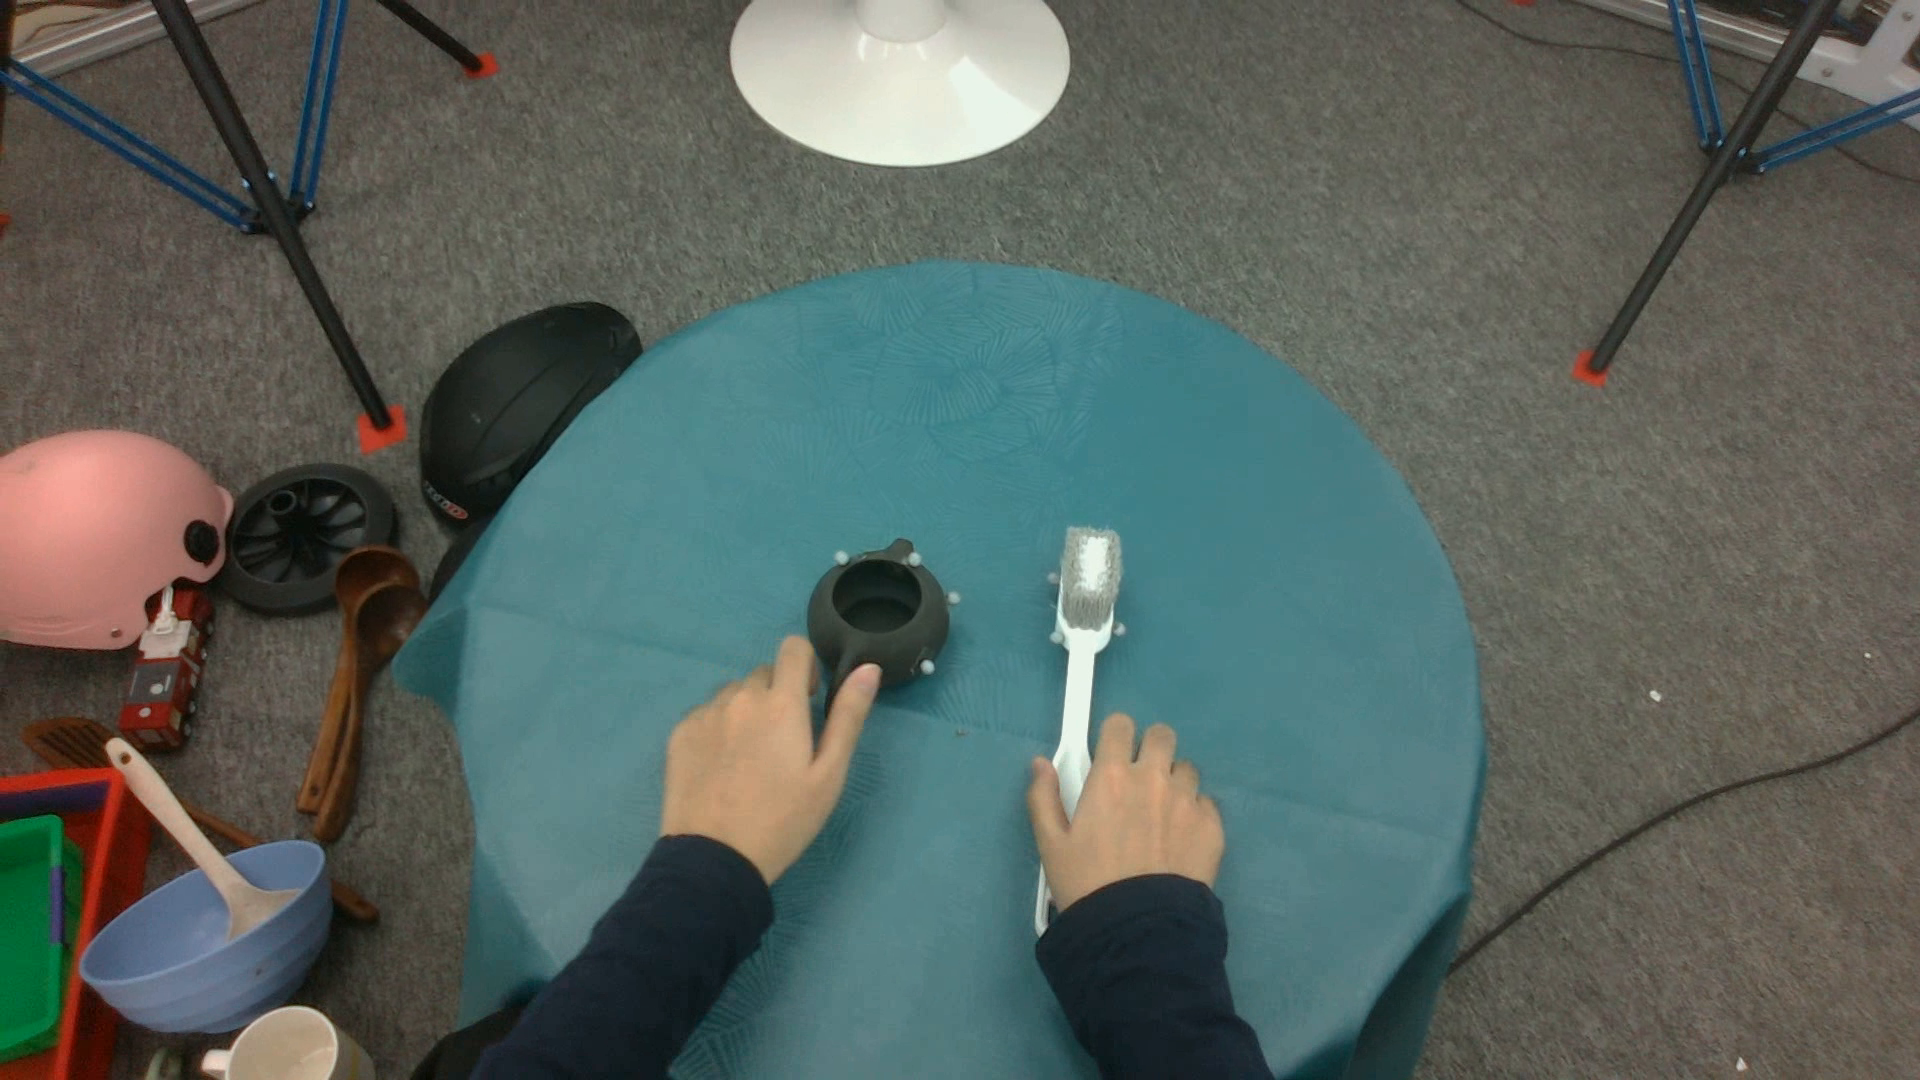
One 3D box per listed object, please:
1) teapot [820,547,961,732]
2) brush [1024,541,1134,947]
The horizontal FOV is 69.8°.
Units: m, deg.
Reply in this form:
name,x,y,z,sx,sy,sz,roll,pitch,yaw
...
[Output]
name,x,y,z,sx,sy,sz,roll,pitch,yaw
teapot,-0.045,0.060,0.799,0.083,0.053,0.114,19,56,10
brush,0.068,0.104,0.774,0.034,0.050,0.245,12,55,2
